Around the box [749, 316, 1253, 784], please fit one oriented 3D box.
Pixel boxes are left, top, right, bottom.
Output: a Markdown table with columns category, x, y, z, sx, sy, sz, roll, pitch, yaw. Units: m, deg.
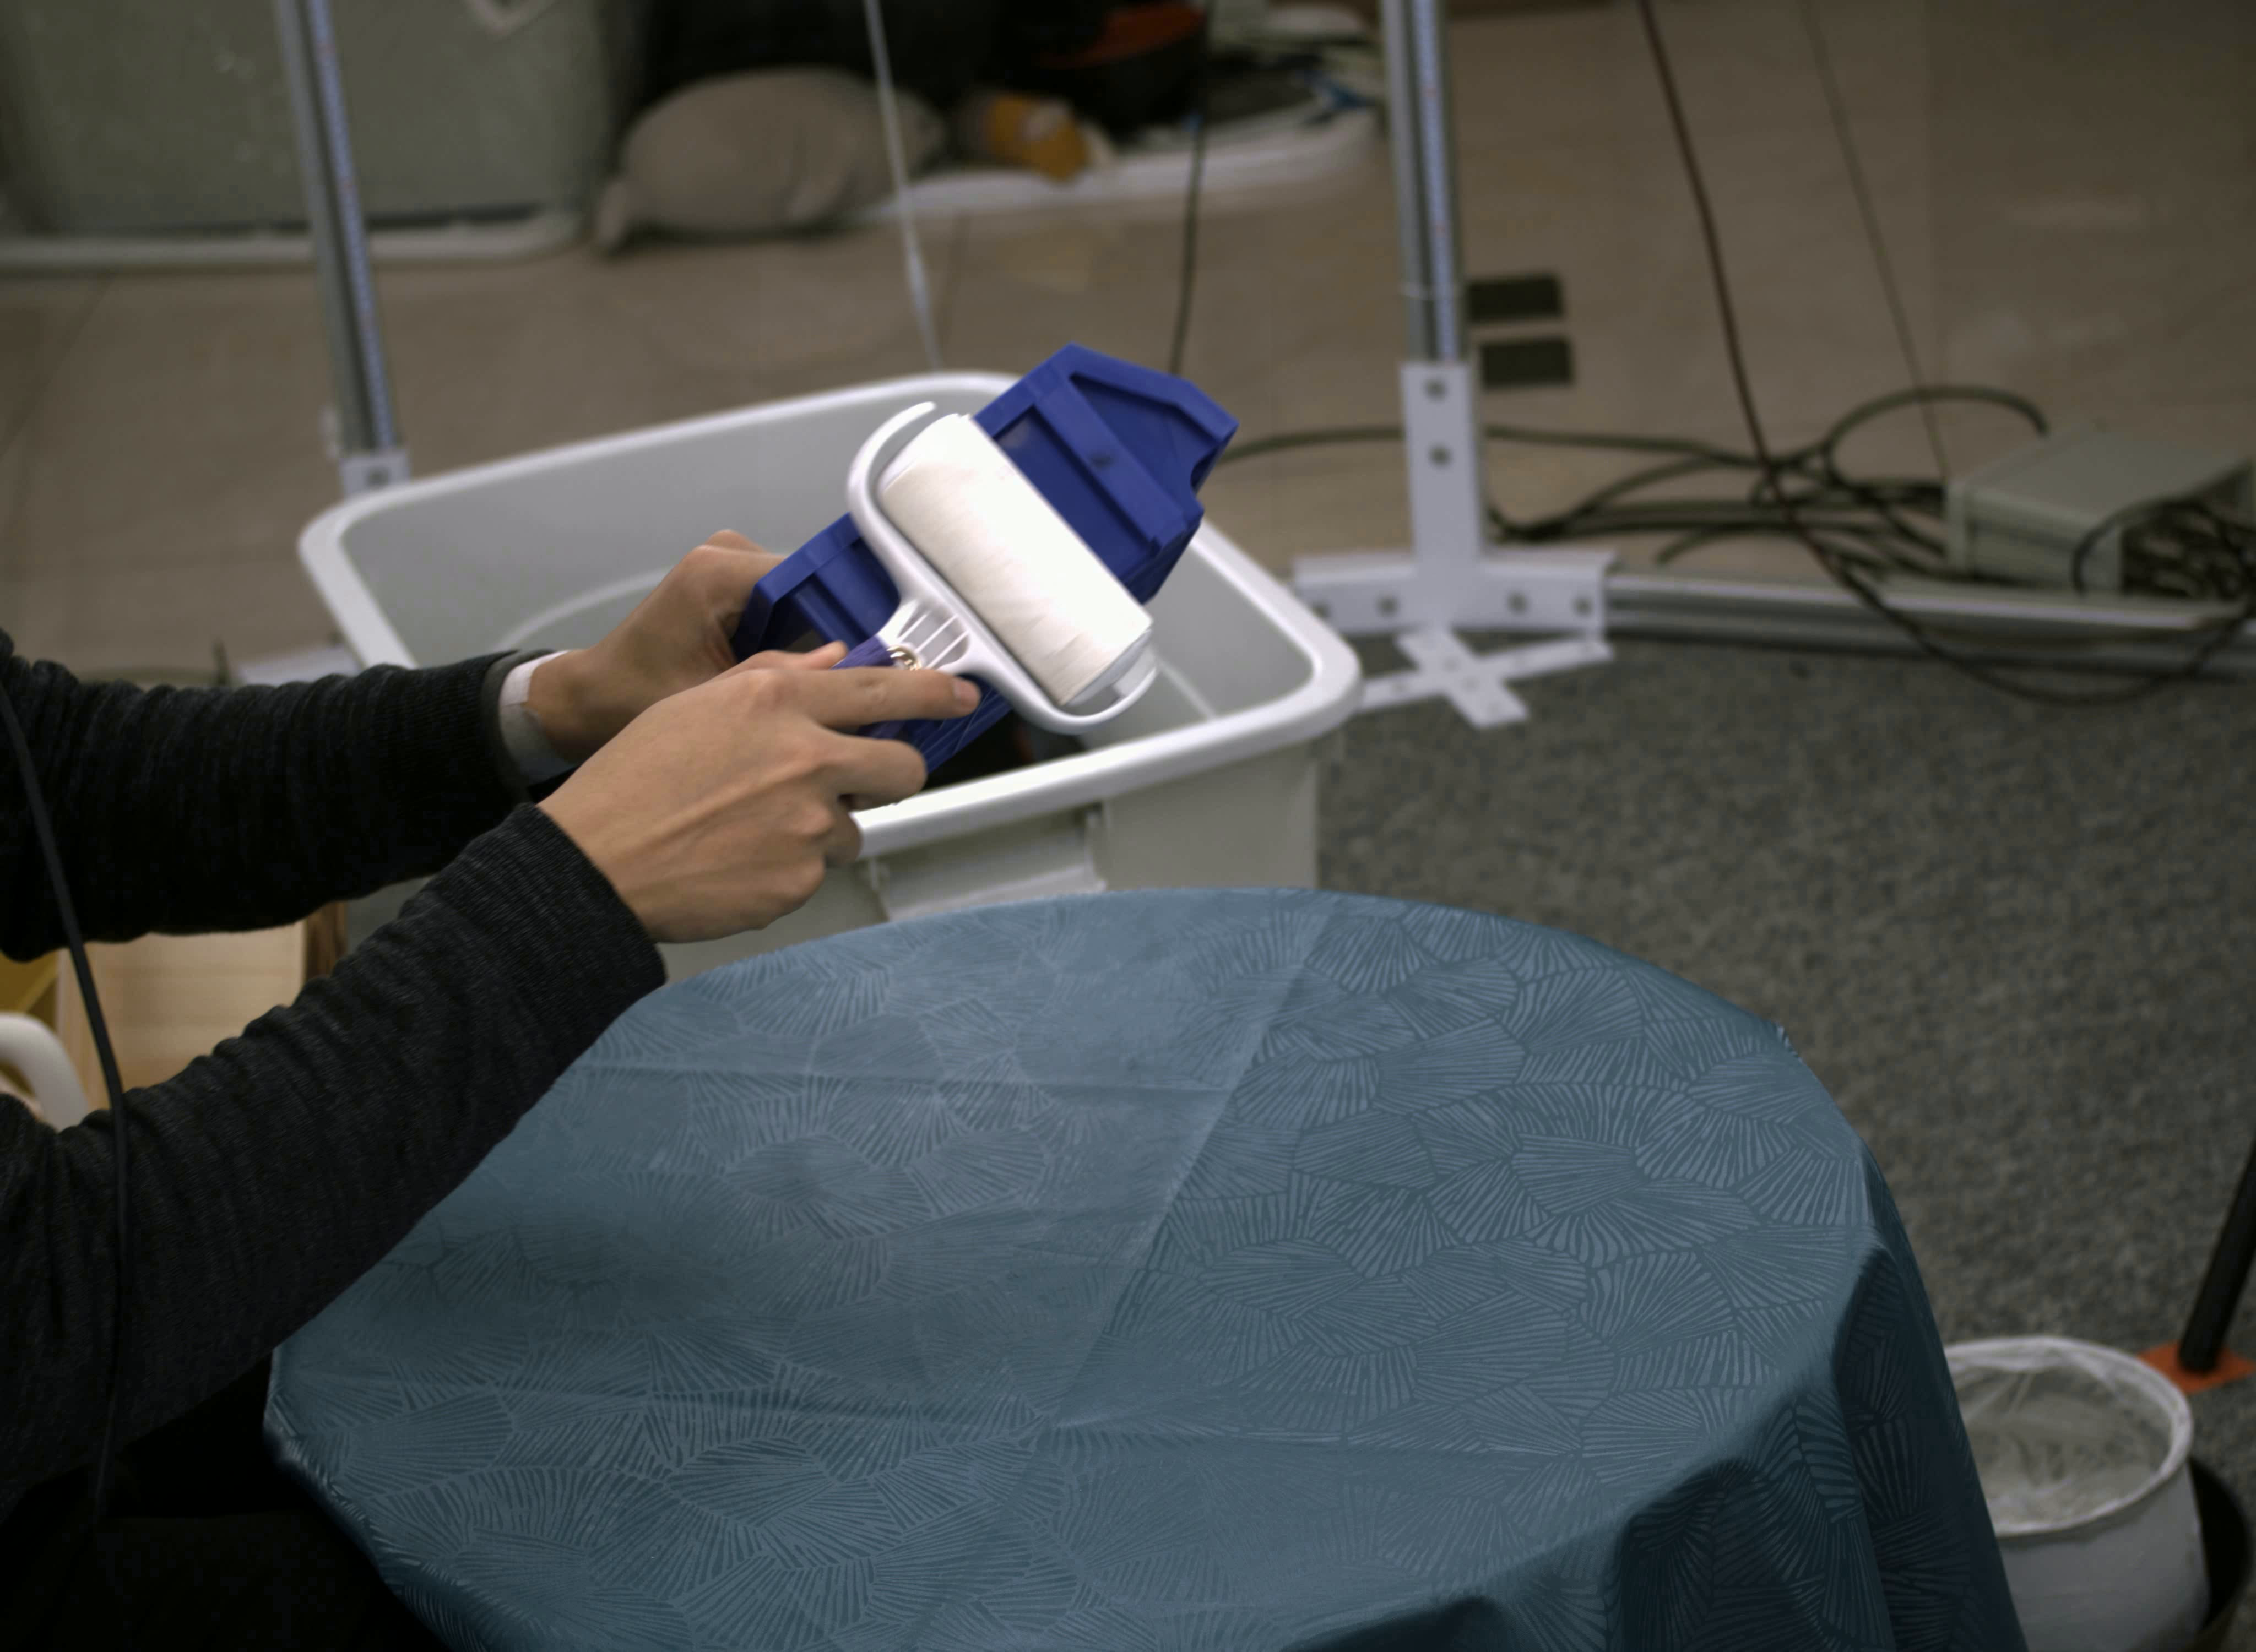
| category | x | y | z | sx | sy | sz | roll | pitch | yaw |
| --- | --- | --- | --- | --- | --- | --- | --- | --- | --- |
| box | -0.043 | -0.104 | 2.080 | 0.178 | 0.082 | 0.125 | -43 | -4 | -16 |

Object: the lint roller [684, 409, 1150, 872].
| category | x | y | z | sx | sy | sz | roll | pitch | yaw |
| --- | --- | --- | --- | --- | --- | --- | --- | --- | --- |
| lint roller | -0.087 | -0.052 | 1.966 | 0.179 | 0.133 | 0.050 | -44 | 8 | -28 |
